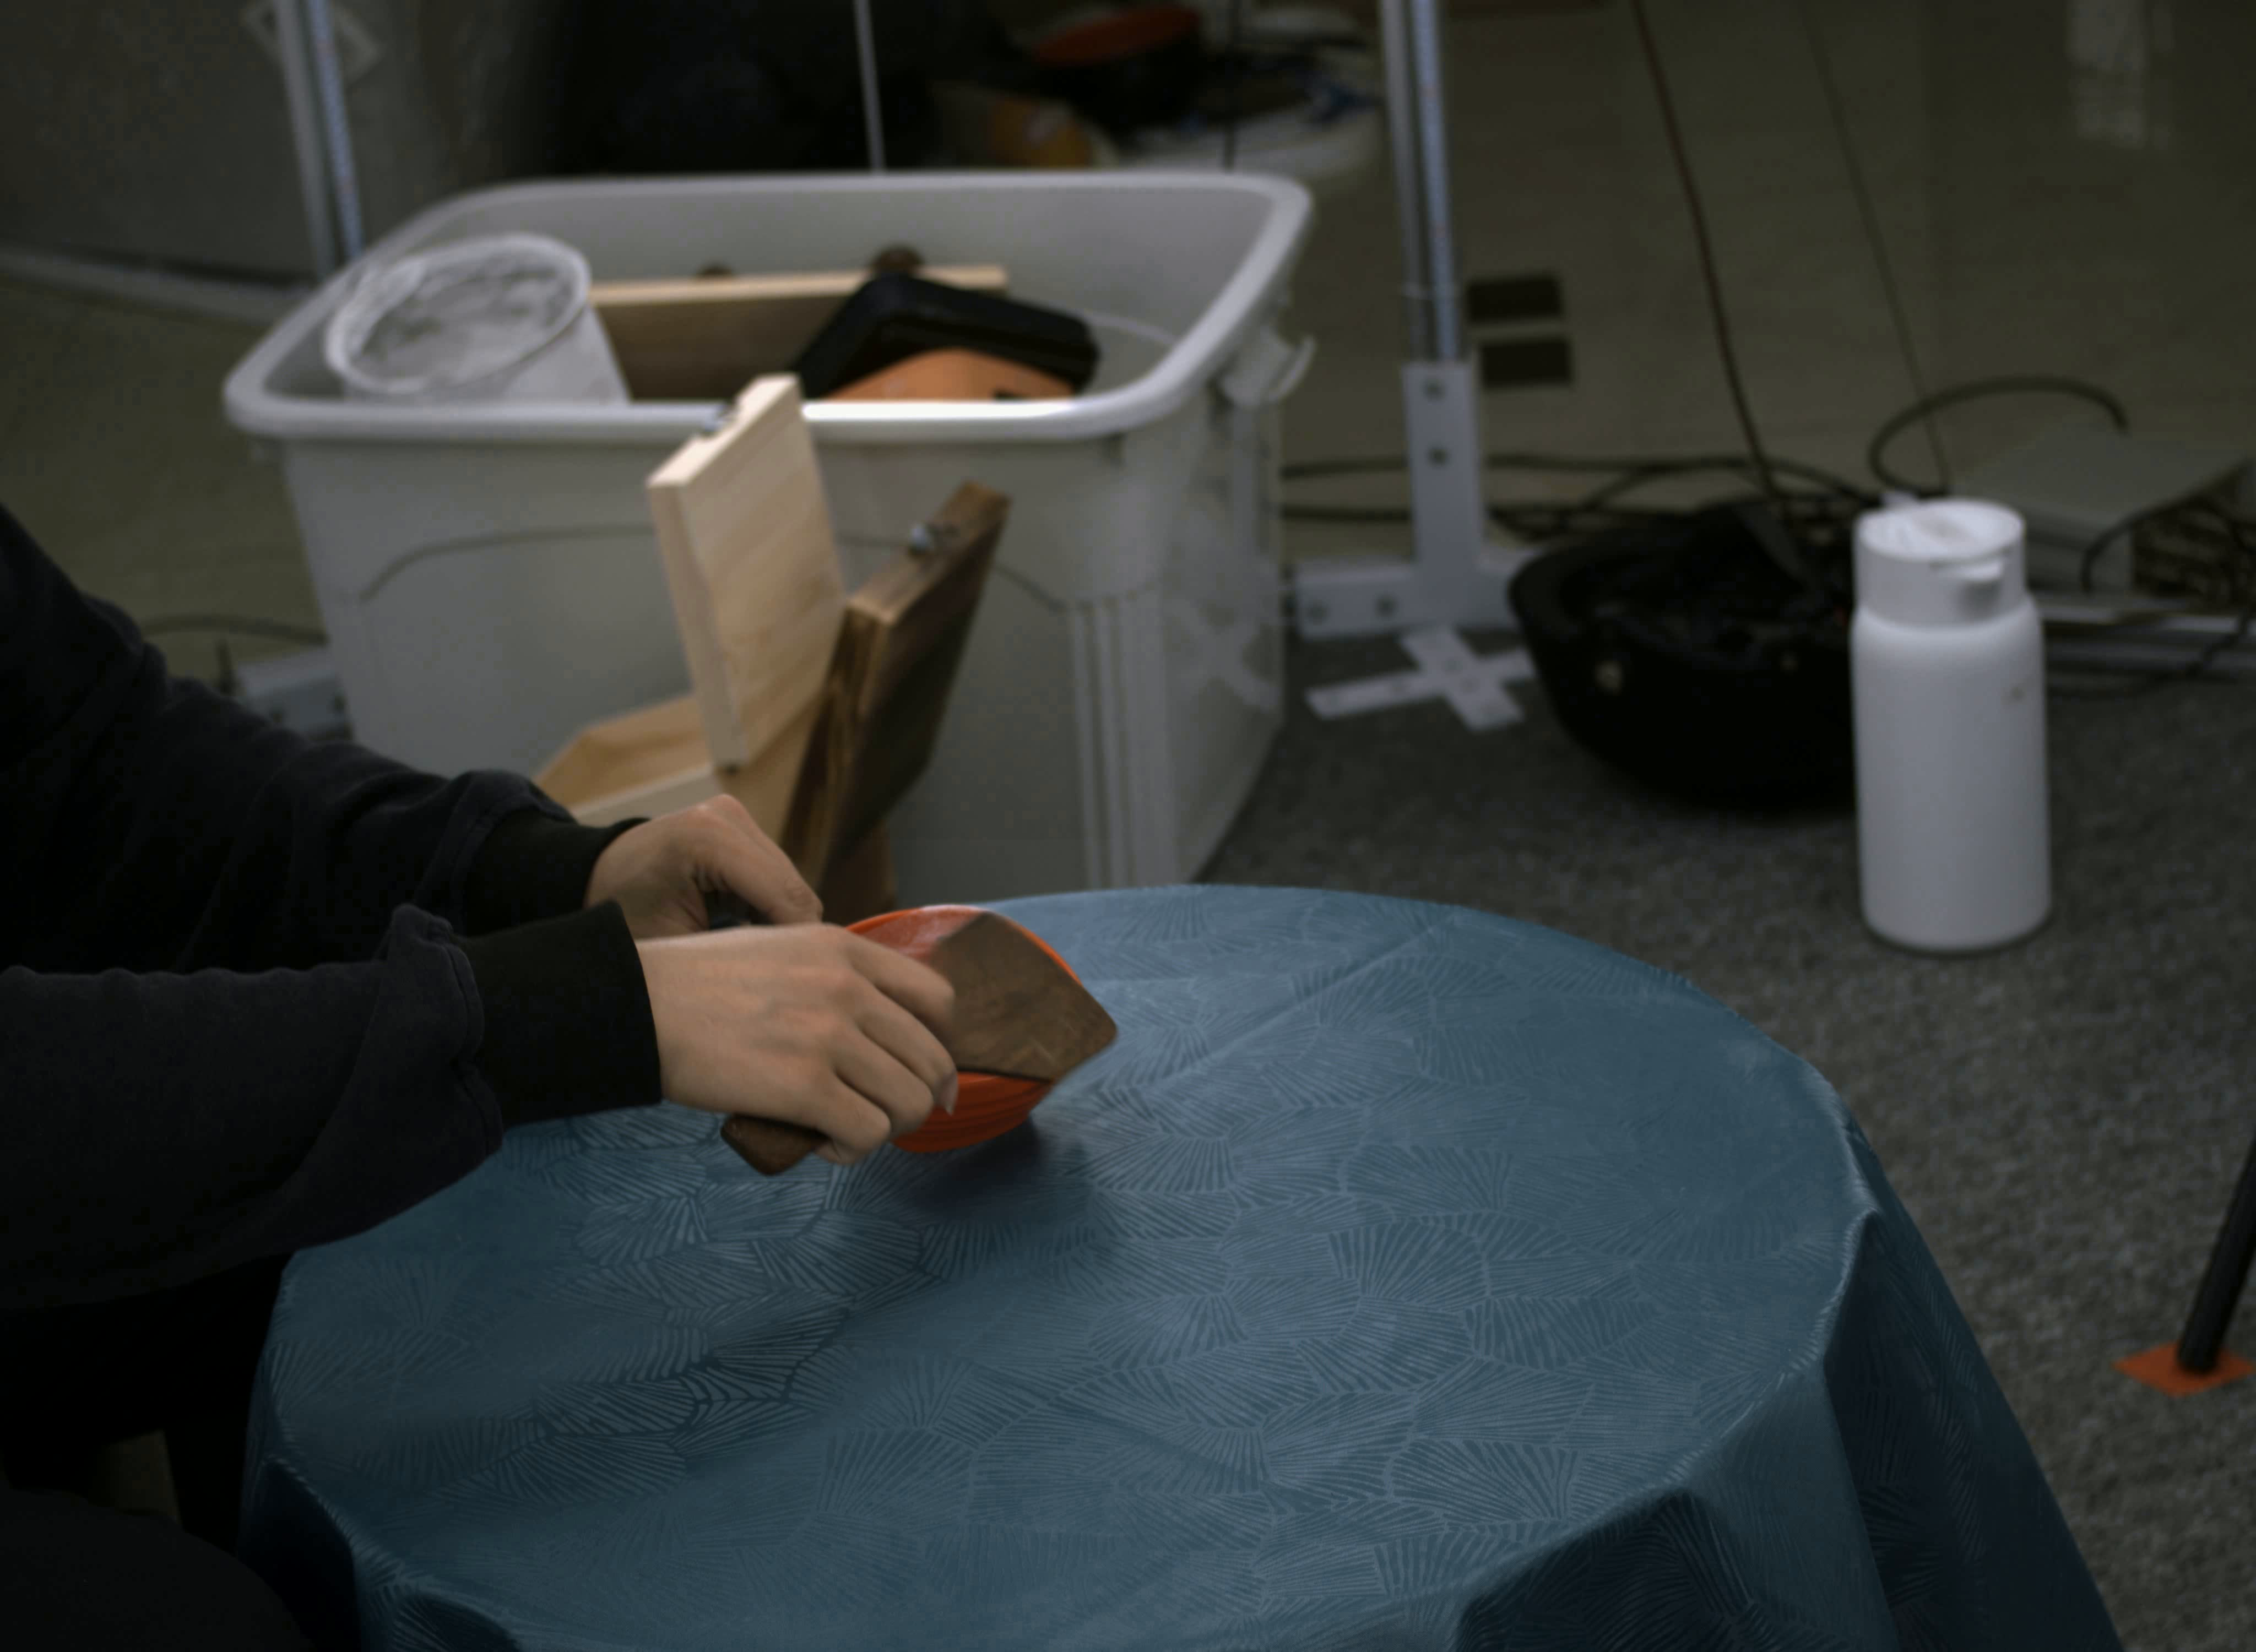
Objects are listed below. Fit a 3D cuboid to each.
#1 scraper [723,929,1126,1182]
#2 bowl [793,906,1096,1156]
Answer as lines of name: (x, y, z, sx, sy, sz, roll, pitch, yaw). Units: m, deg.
scraper: (-0.079, 0.089, 2.061, 0.075, 0.011, 0.209, 42, 33, 15)
bowl: (-0.073, 0.086, 2.205, 0.119, 0.052, 0.117, 6, 37, -4)
